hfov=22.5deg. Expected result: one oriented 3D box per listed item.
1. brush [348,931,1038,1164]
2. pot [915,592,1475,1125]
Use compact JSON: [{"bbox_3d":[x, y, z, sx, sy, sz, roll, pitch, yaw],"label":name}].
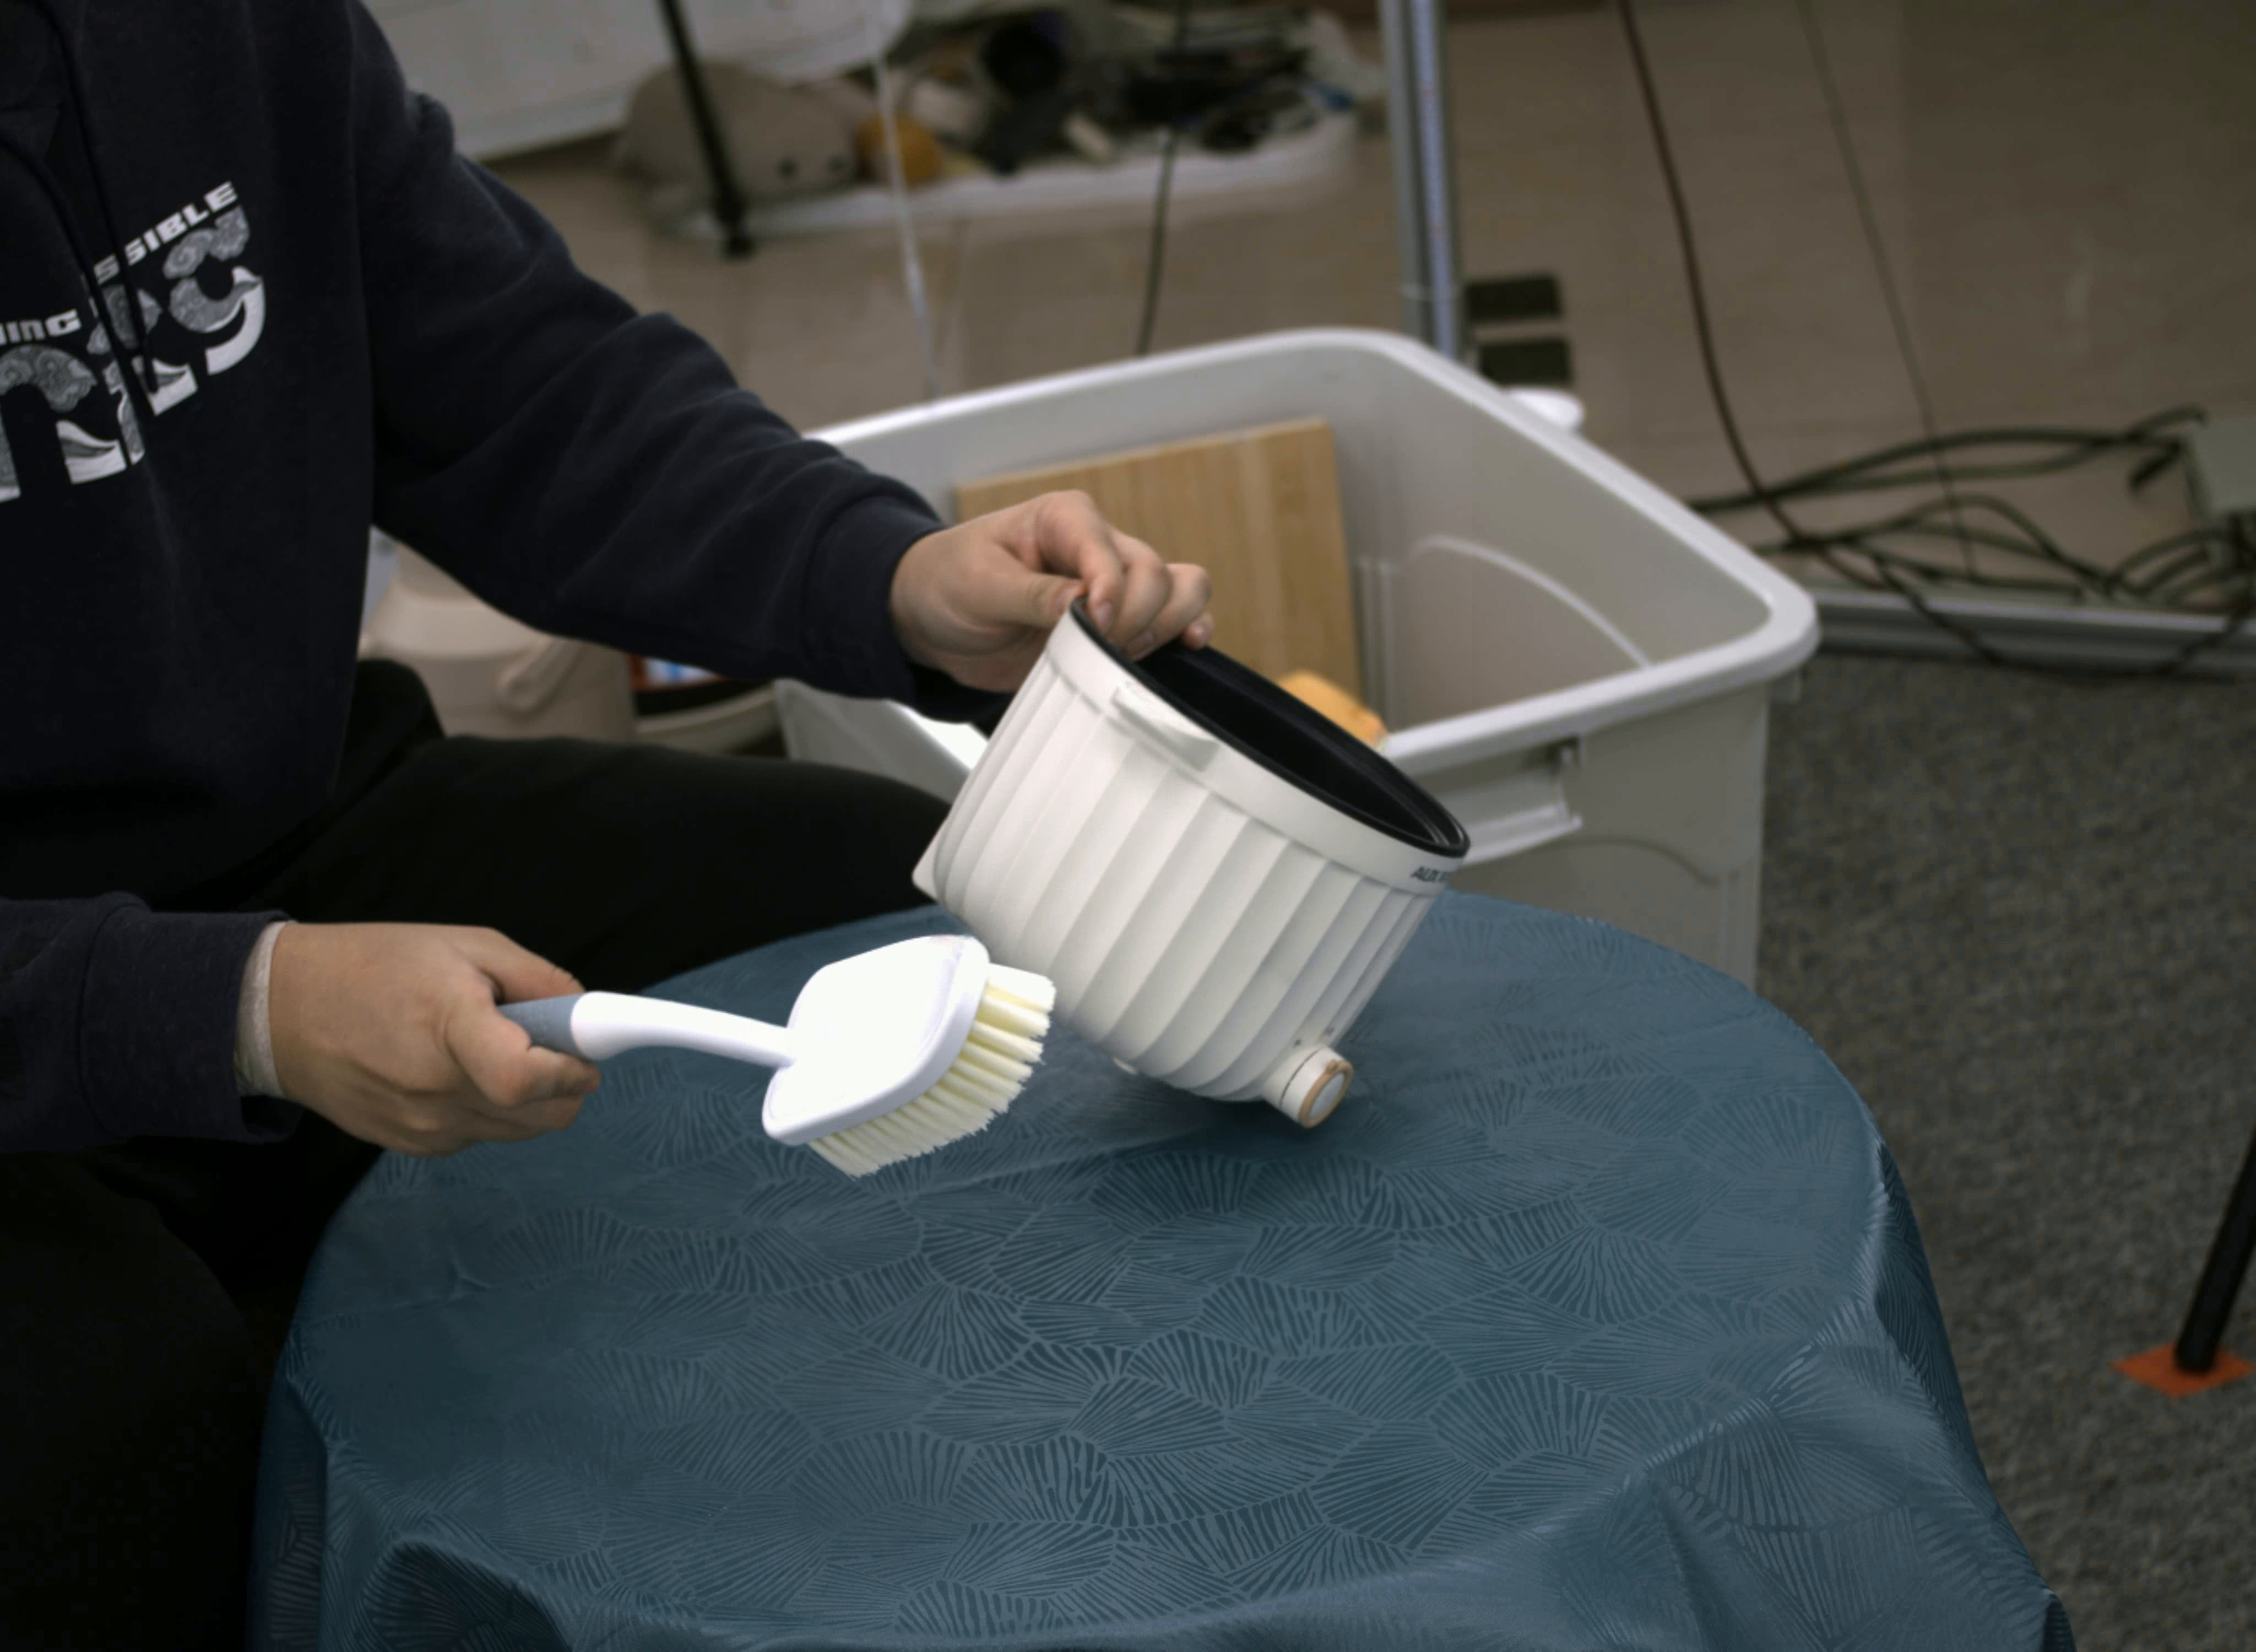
[{"bbox_3d":[-0.147,0.081,2.018,0.326,0.085,0.082,-8,19,42],"label":"brush"},{"bbox_3d":[0.027,0.017,2.186,0.189,0.143,0.241,33,10,21],"label":"pot"}]
